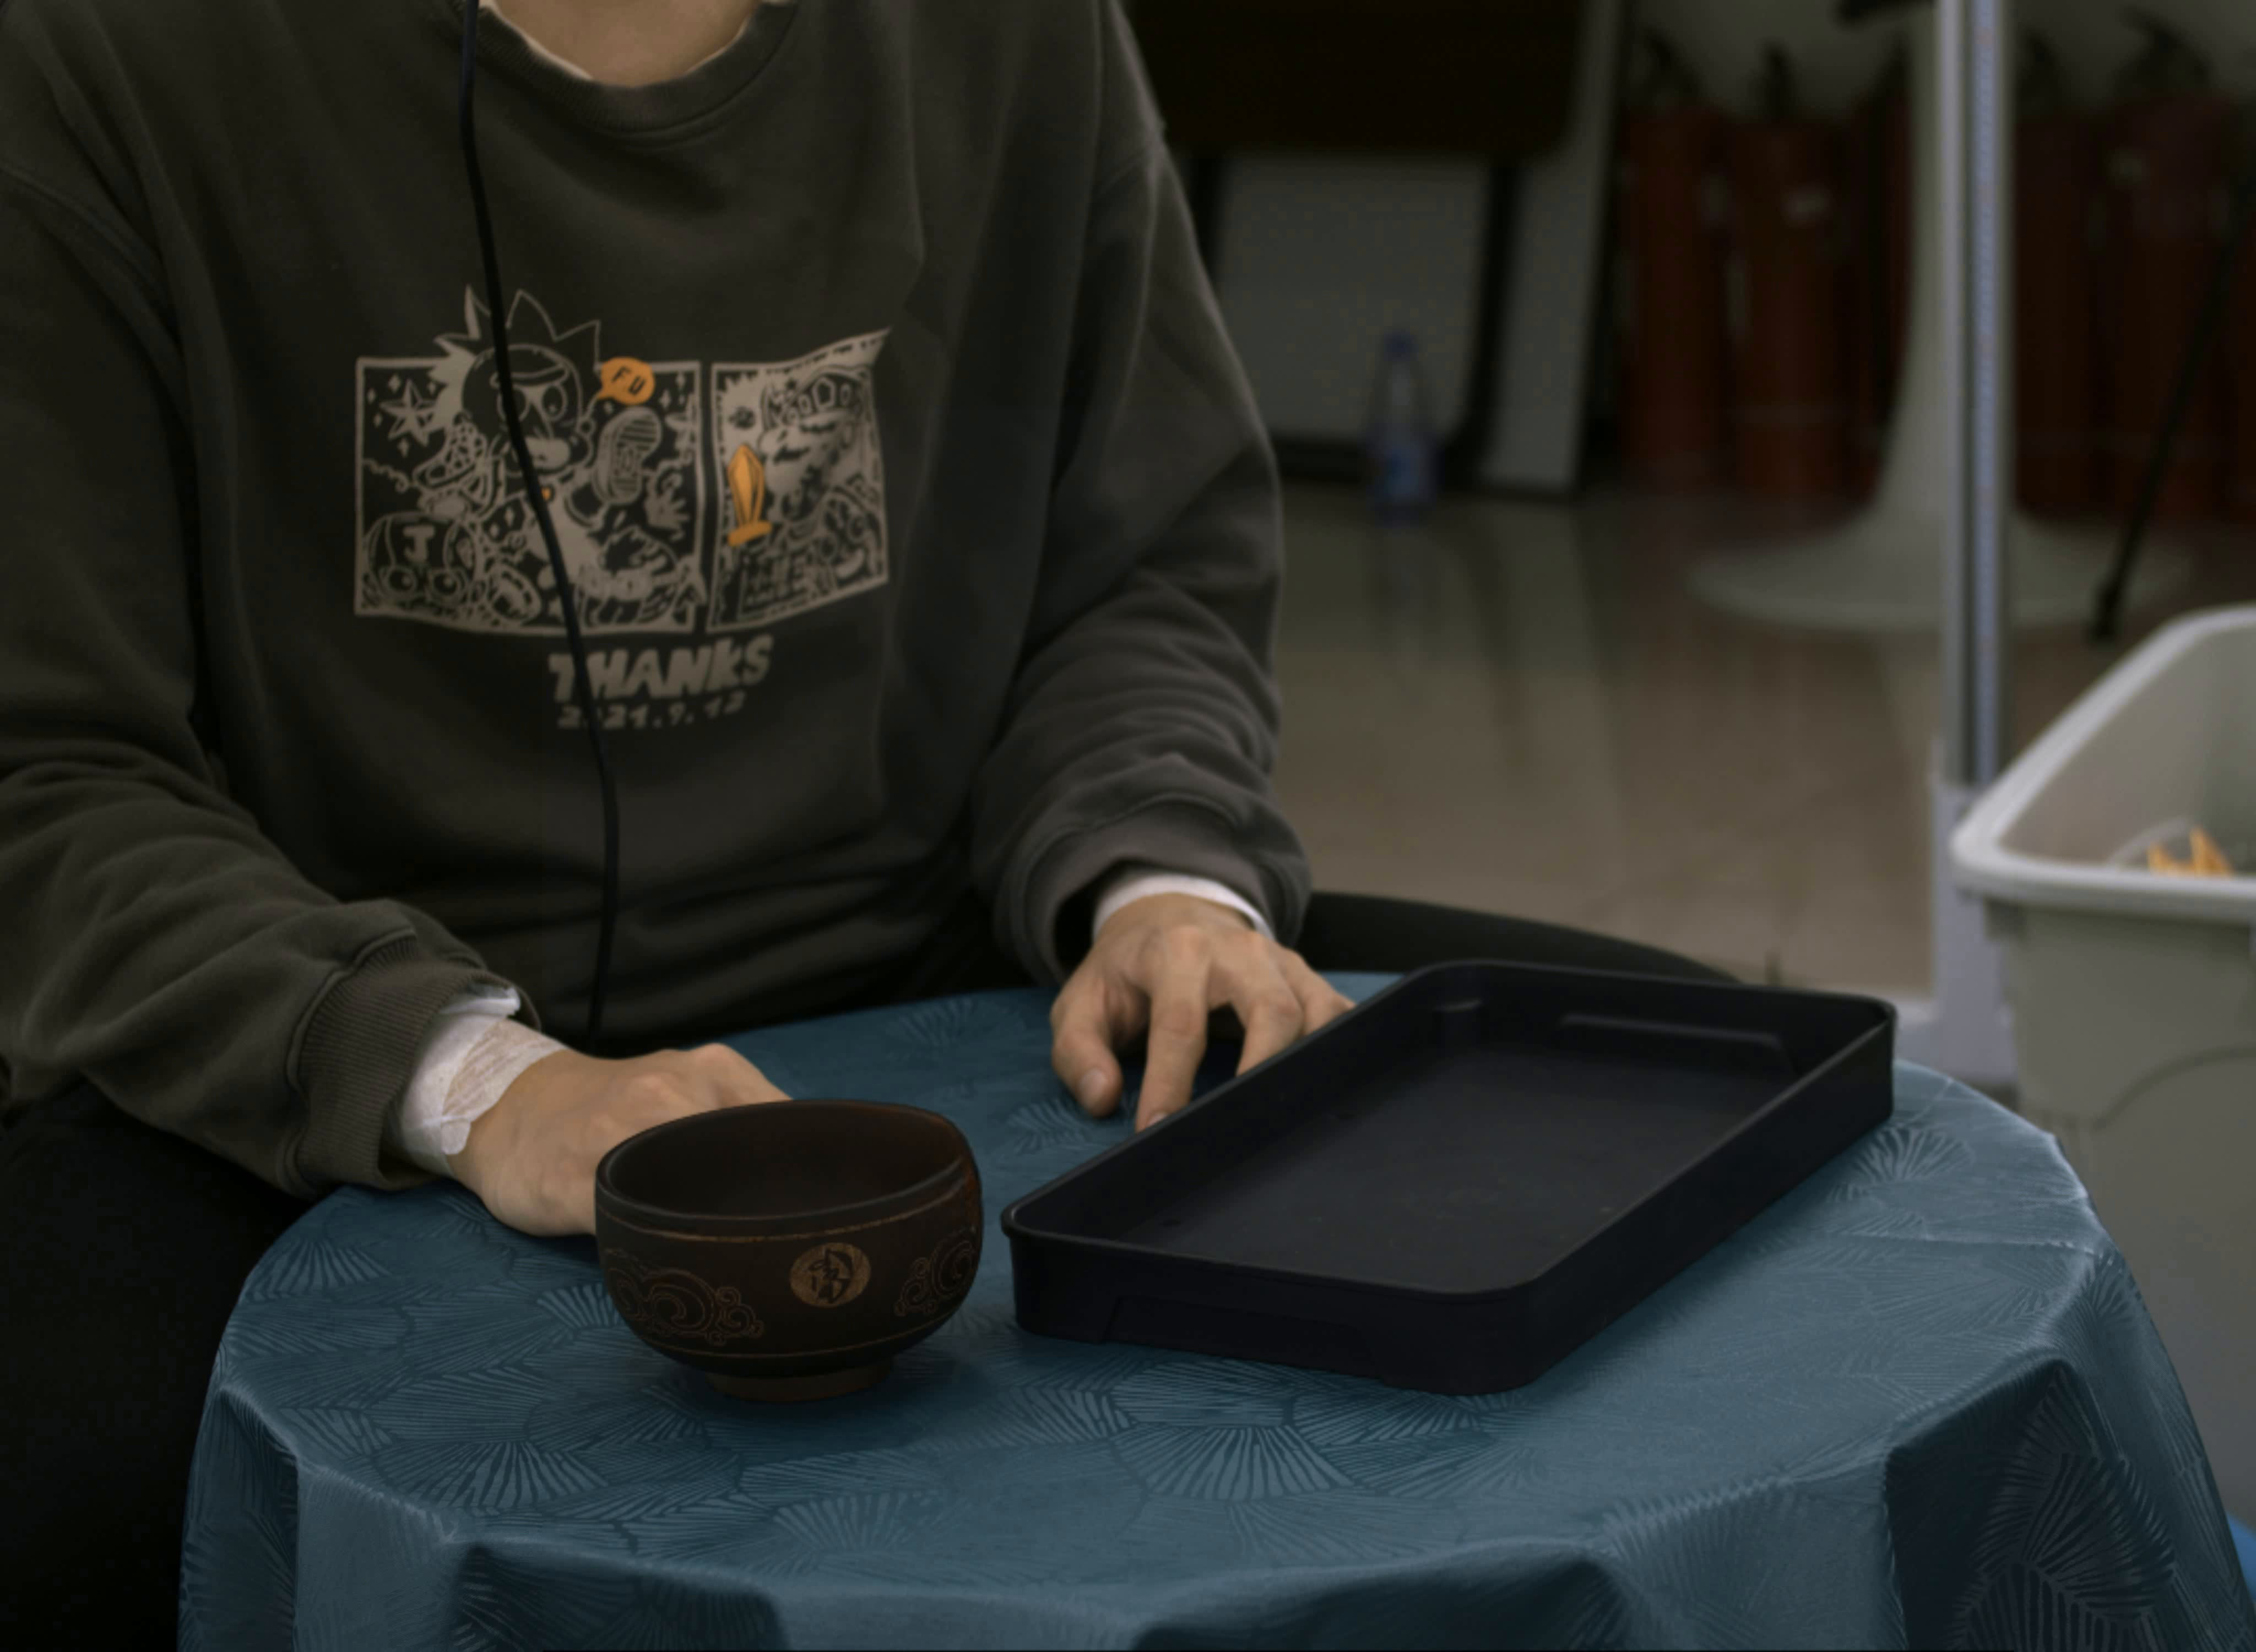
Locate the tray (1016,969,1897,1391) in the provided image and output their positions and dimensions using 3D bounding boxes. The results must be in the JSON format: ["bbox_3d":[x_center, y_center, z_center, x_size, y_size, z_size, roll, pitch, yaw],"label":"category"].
[{"bbox_3d":[0.113,0.107,1.727,0.185,0.037,0.313,3,15,29],"label":"tray"}]

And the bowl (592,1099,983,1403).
[{"bbox_3d":[-0.100,0.130,1.616,0.116,0.070,0.118,-5,12,0],"label":"bowl"}]
